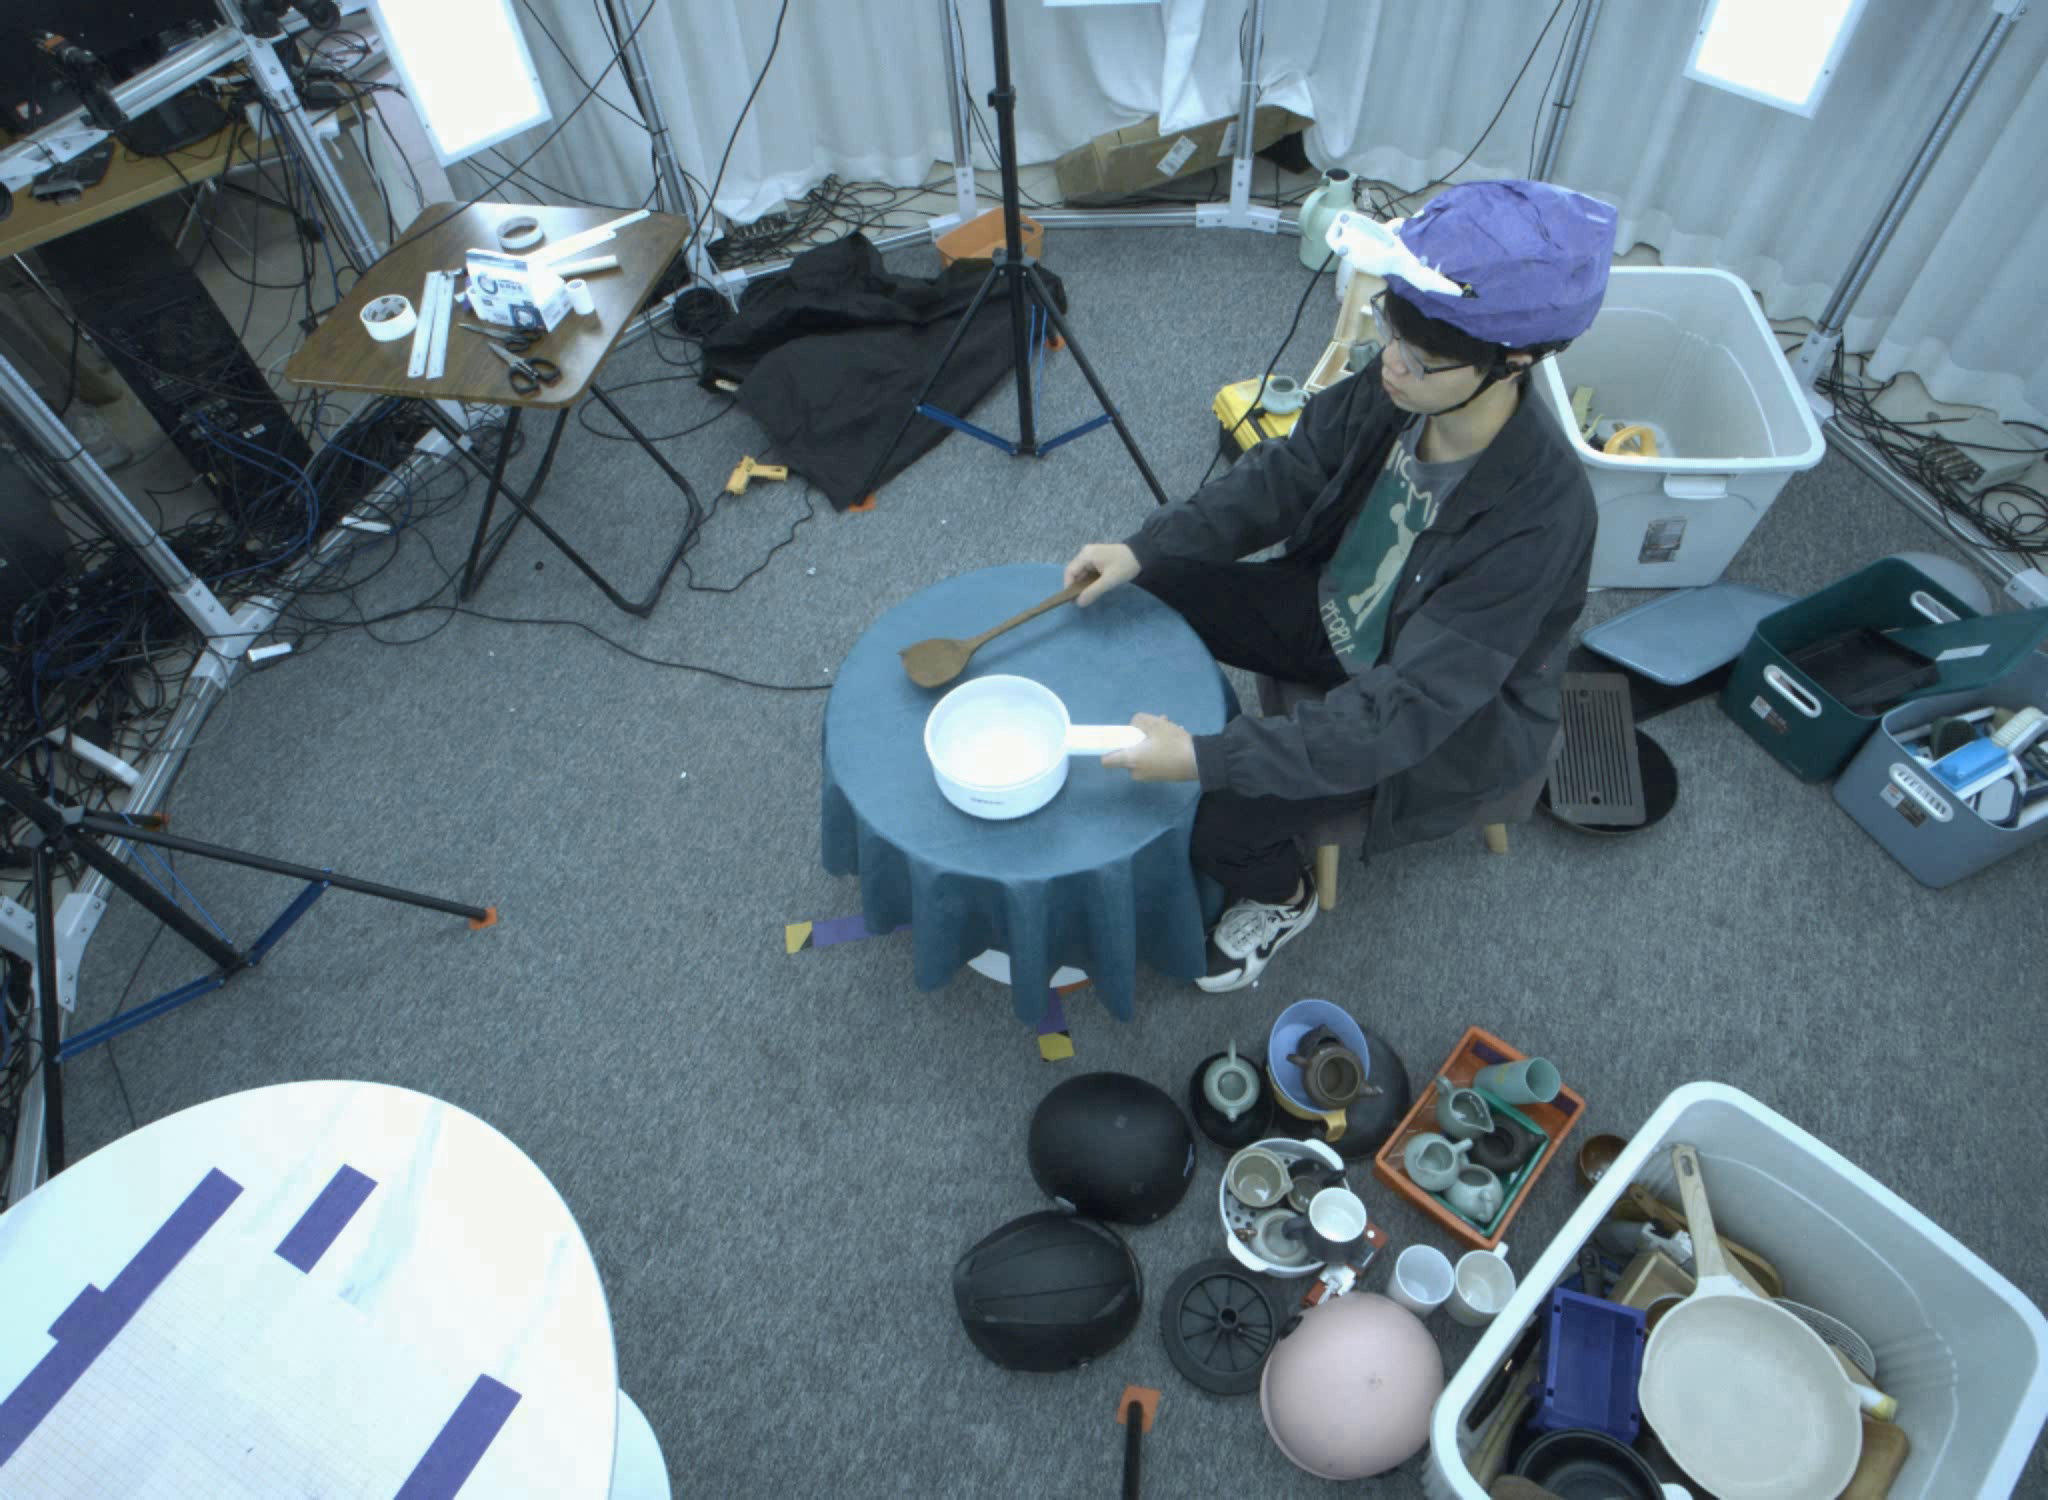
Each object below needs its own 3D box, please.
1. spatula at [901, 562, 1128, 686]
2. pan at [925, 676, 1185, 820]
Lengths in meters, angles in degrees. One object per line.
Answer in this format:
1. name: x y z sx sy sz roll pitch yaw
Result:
1. spatula: -0.006 -0.203 1.870 0.389 0.016 0.094 -28 56 -15
2. pan: 0.043 0.005 1.714 0.354 0.103 0.199 2 52 2
